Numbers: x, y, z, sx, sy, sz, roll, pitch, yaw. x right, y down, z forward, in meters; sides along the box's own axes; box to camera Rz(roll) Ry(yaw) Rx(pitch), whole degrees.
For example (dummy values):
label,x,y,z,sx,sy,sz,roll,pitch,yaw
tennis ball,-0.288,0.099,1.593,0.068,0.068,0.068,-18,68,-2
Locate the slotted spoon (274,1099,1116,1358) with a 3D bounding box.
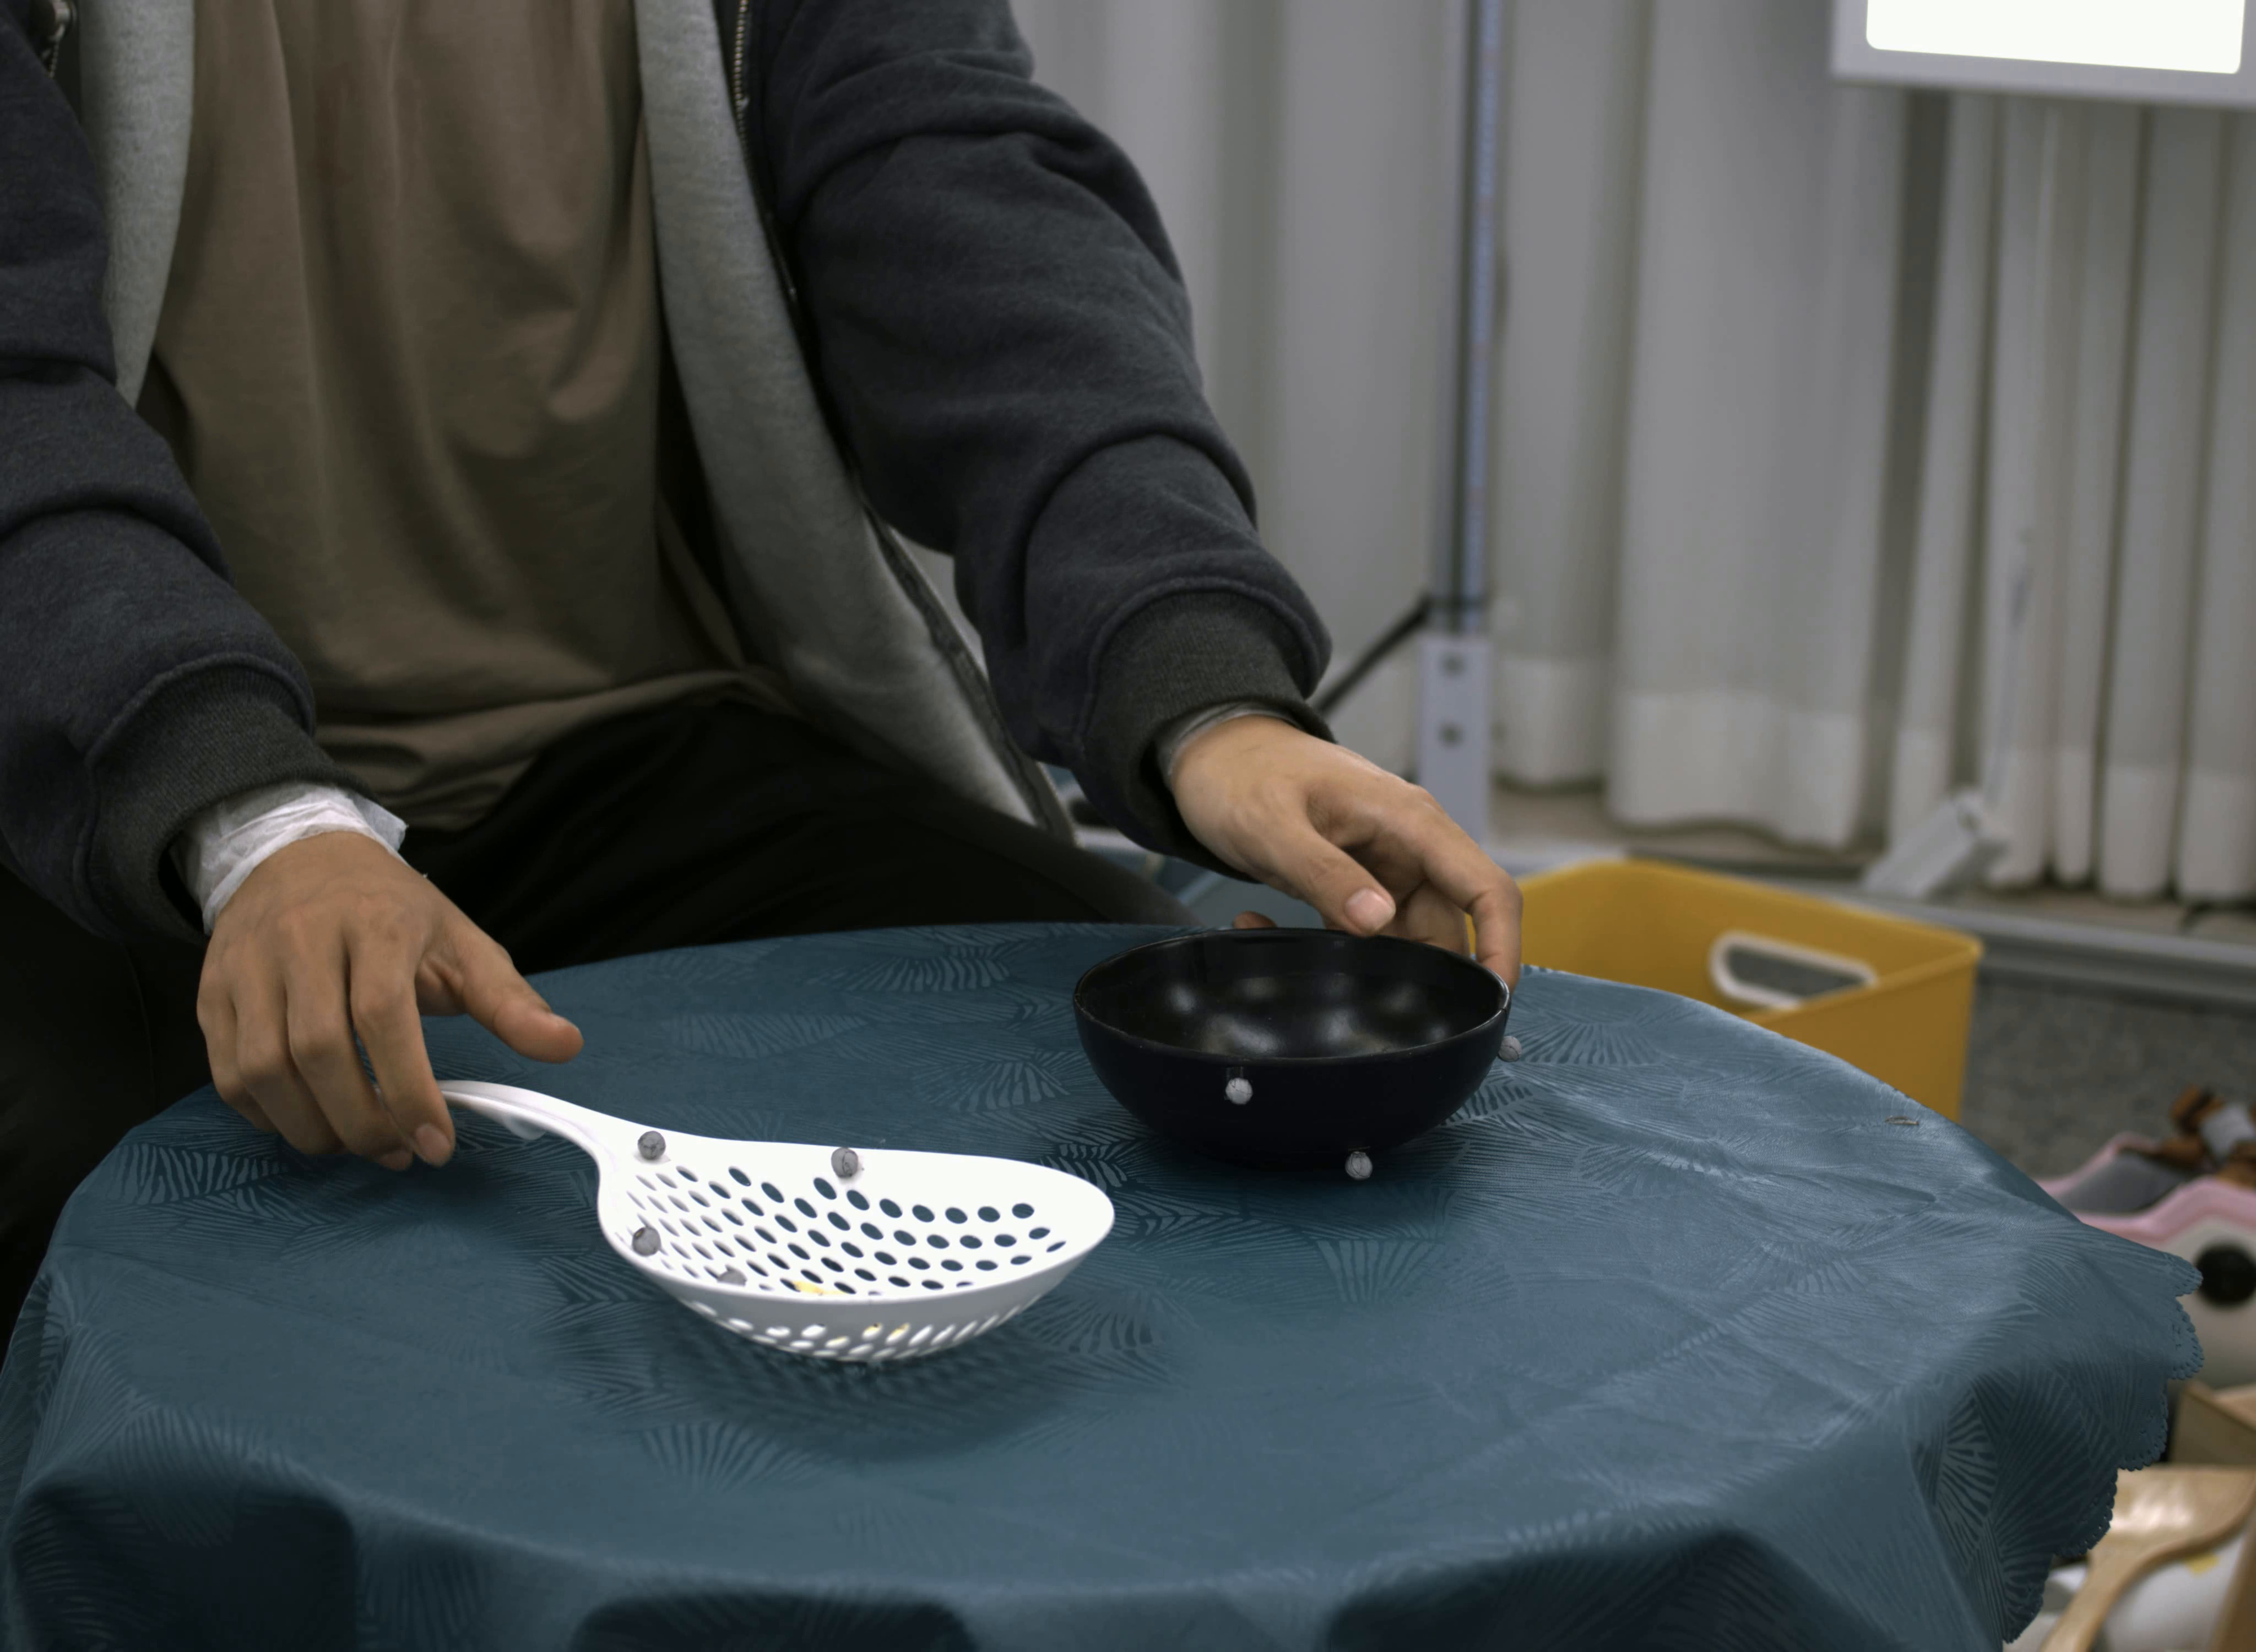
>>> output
label,x,y,z,sx,sy,sz,roll,pitch,yaw
slotted spoon,-0.146,0.106,1.565,0.137,0.051,0.343,-18,23,-40
